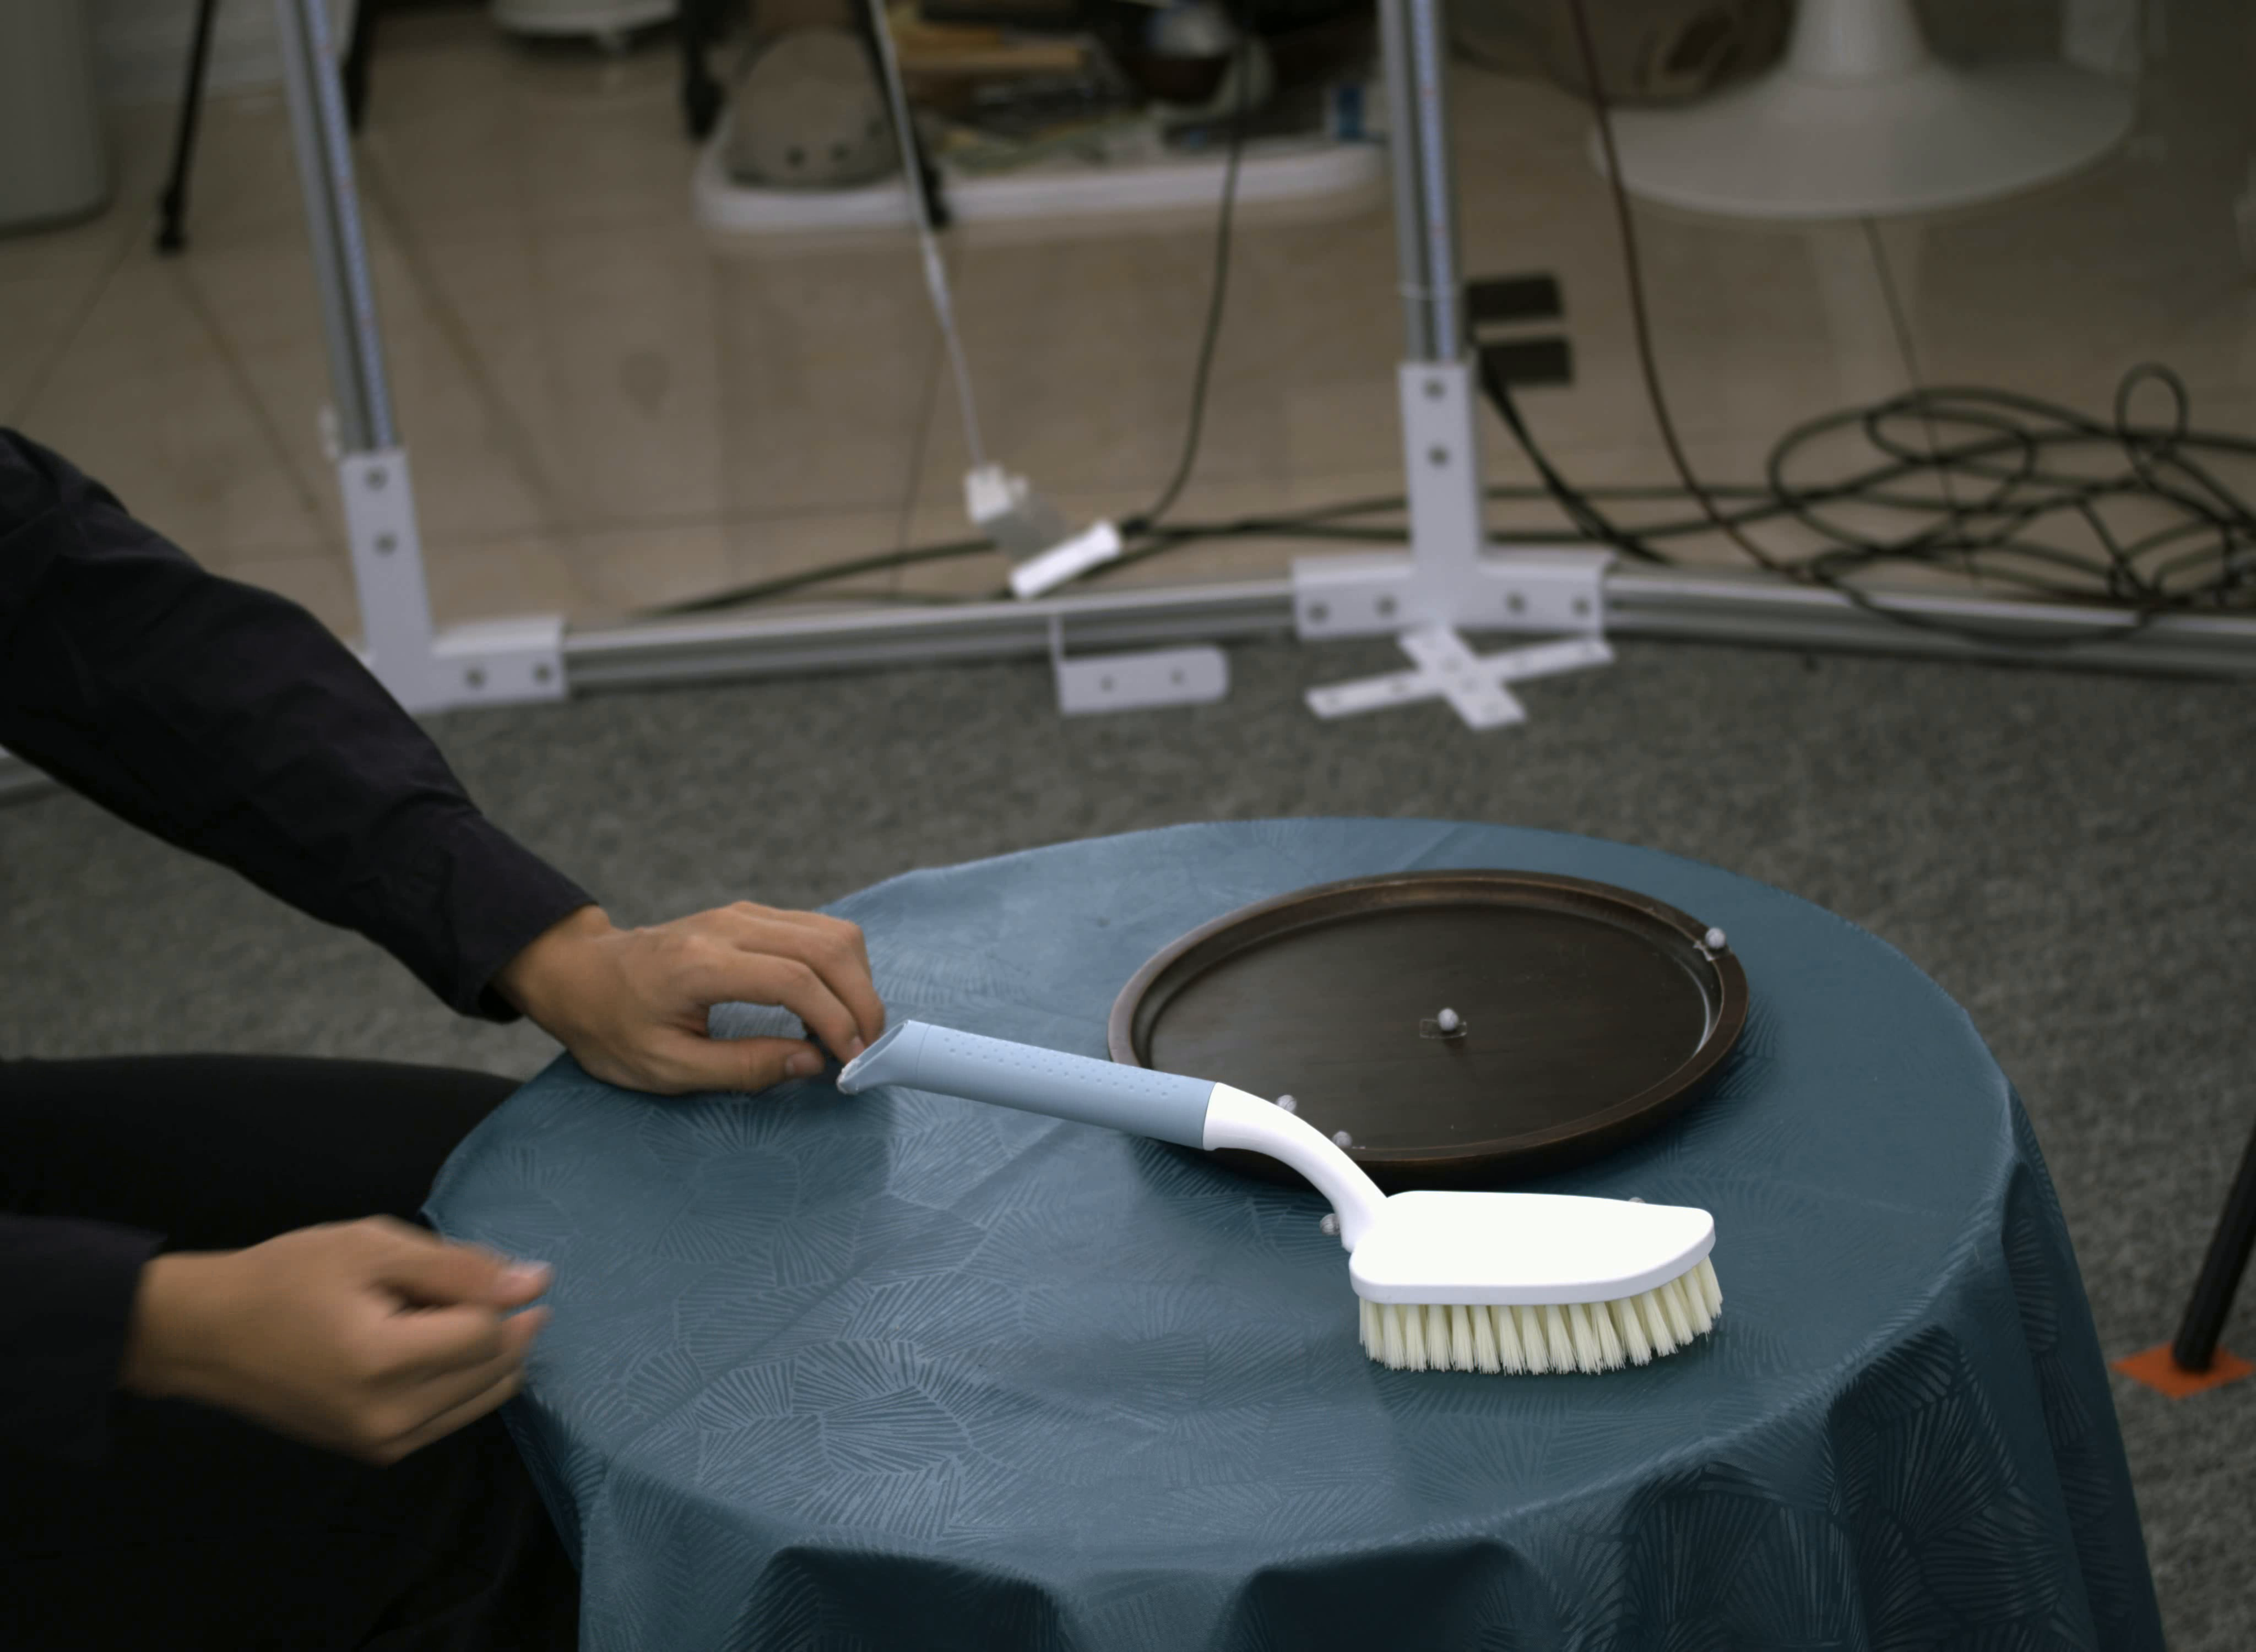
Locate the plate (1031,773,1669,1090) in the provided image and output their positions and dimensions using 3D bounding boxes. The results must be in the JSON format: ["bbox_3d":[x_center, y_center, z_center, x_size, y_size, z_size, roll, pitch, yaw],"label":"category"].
[{"bbox_3d":[0.088,0.040,2.253,0.254,0.029,0.251,-4,27,2],"label":"plate"}]

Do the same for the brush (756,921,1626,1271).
[{"bbox_3d":[0.020,0.108,2.058,0.324,0.084,0.083,12,-8,9],"label":"brush"}]
